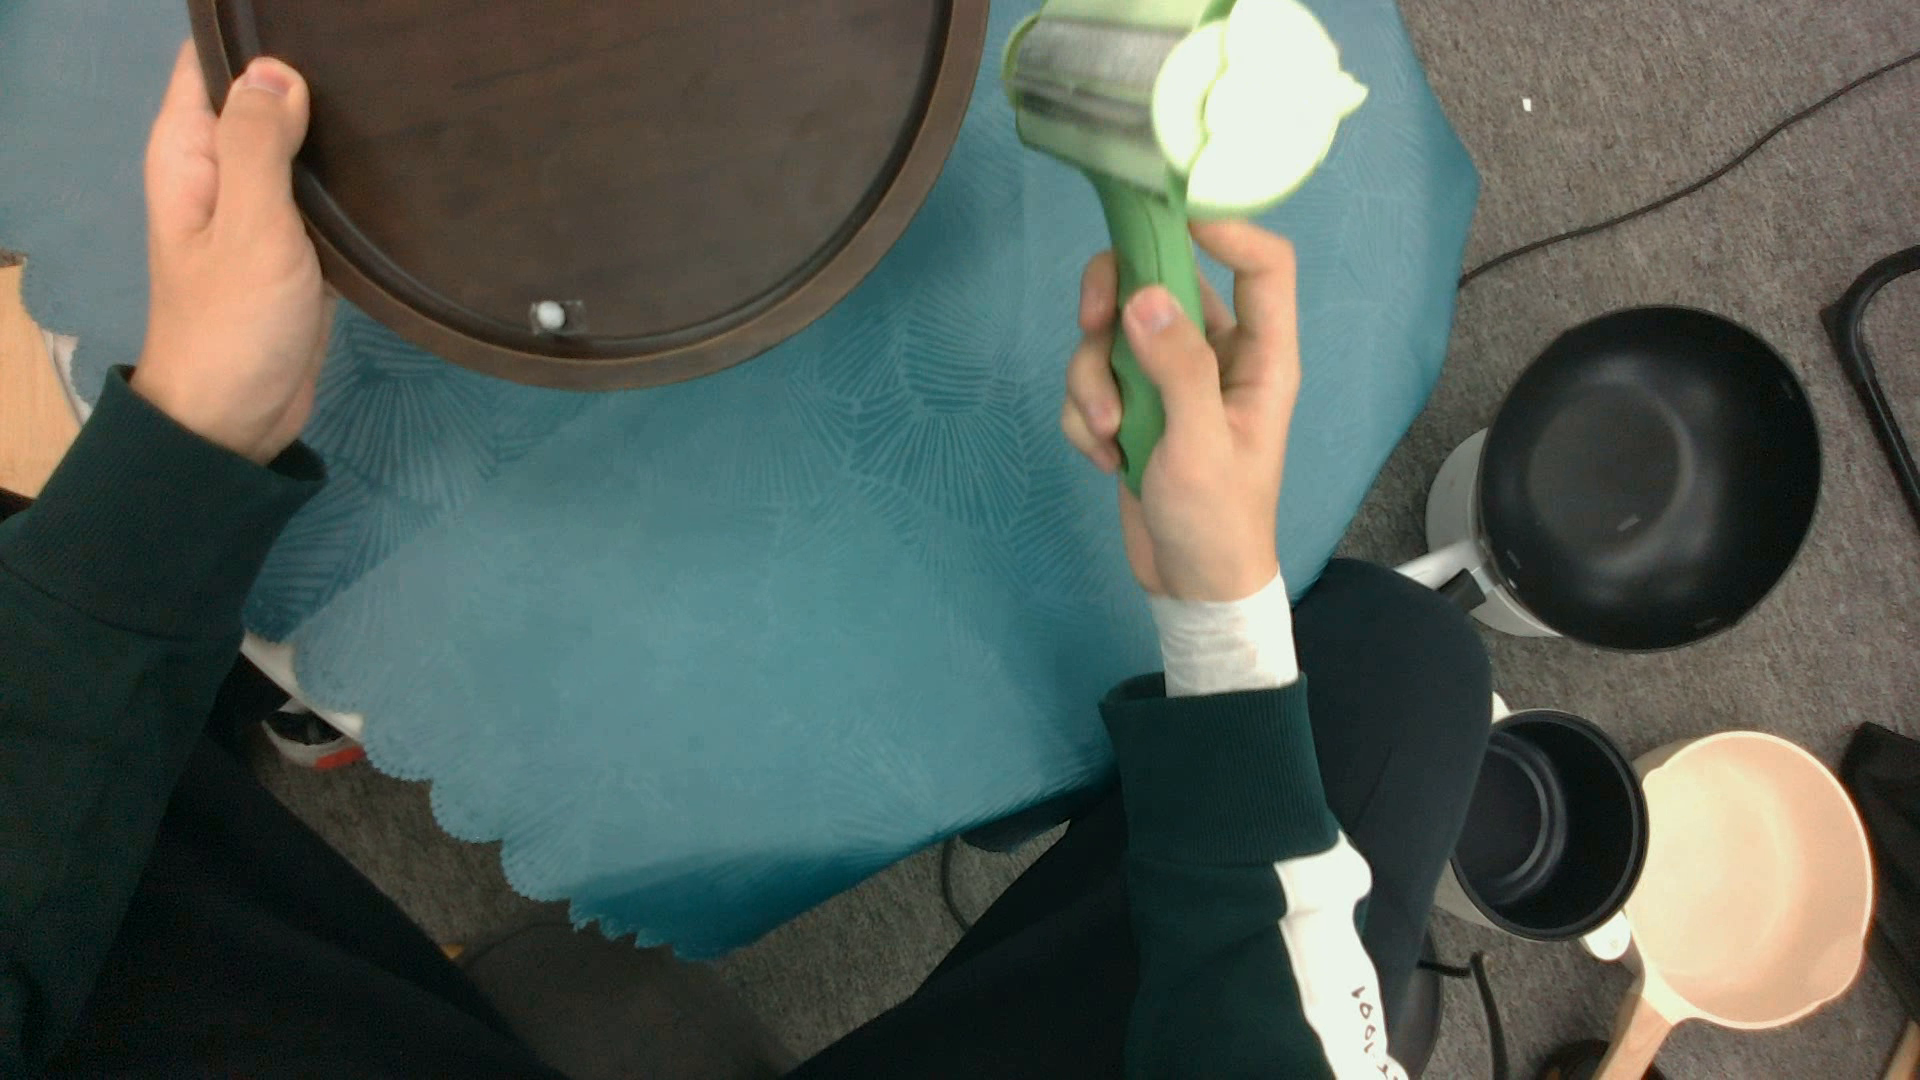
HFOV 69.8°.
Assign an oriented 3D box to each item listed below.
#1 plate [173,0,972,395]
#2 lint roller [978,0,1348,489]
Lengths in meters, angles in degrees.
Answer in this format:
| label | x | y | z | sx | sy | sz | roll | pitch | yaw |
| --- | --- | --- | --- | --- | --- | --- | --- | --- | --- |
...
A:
| label | x | y | z | sx | sy | sz | roll | pitch | yaw |
| --- | --- | --- | --- | --- | --- | --- | --- | --- | --- |
| plate | -0.120 | -0.173 | 0.421 | 0.254 | 0.029 | 0.254 | 1 | 99 | 6 |
| lint roller | 0.075 | -0.110 | 0.472 | 0.082 | 0.199 | 0.183 | -20 | 113 | -6 |
